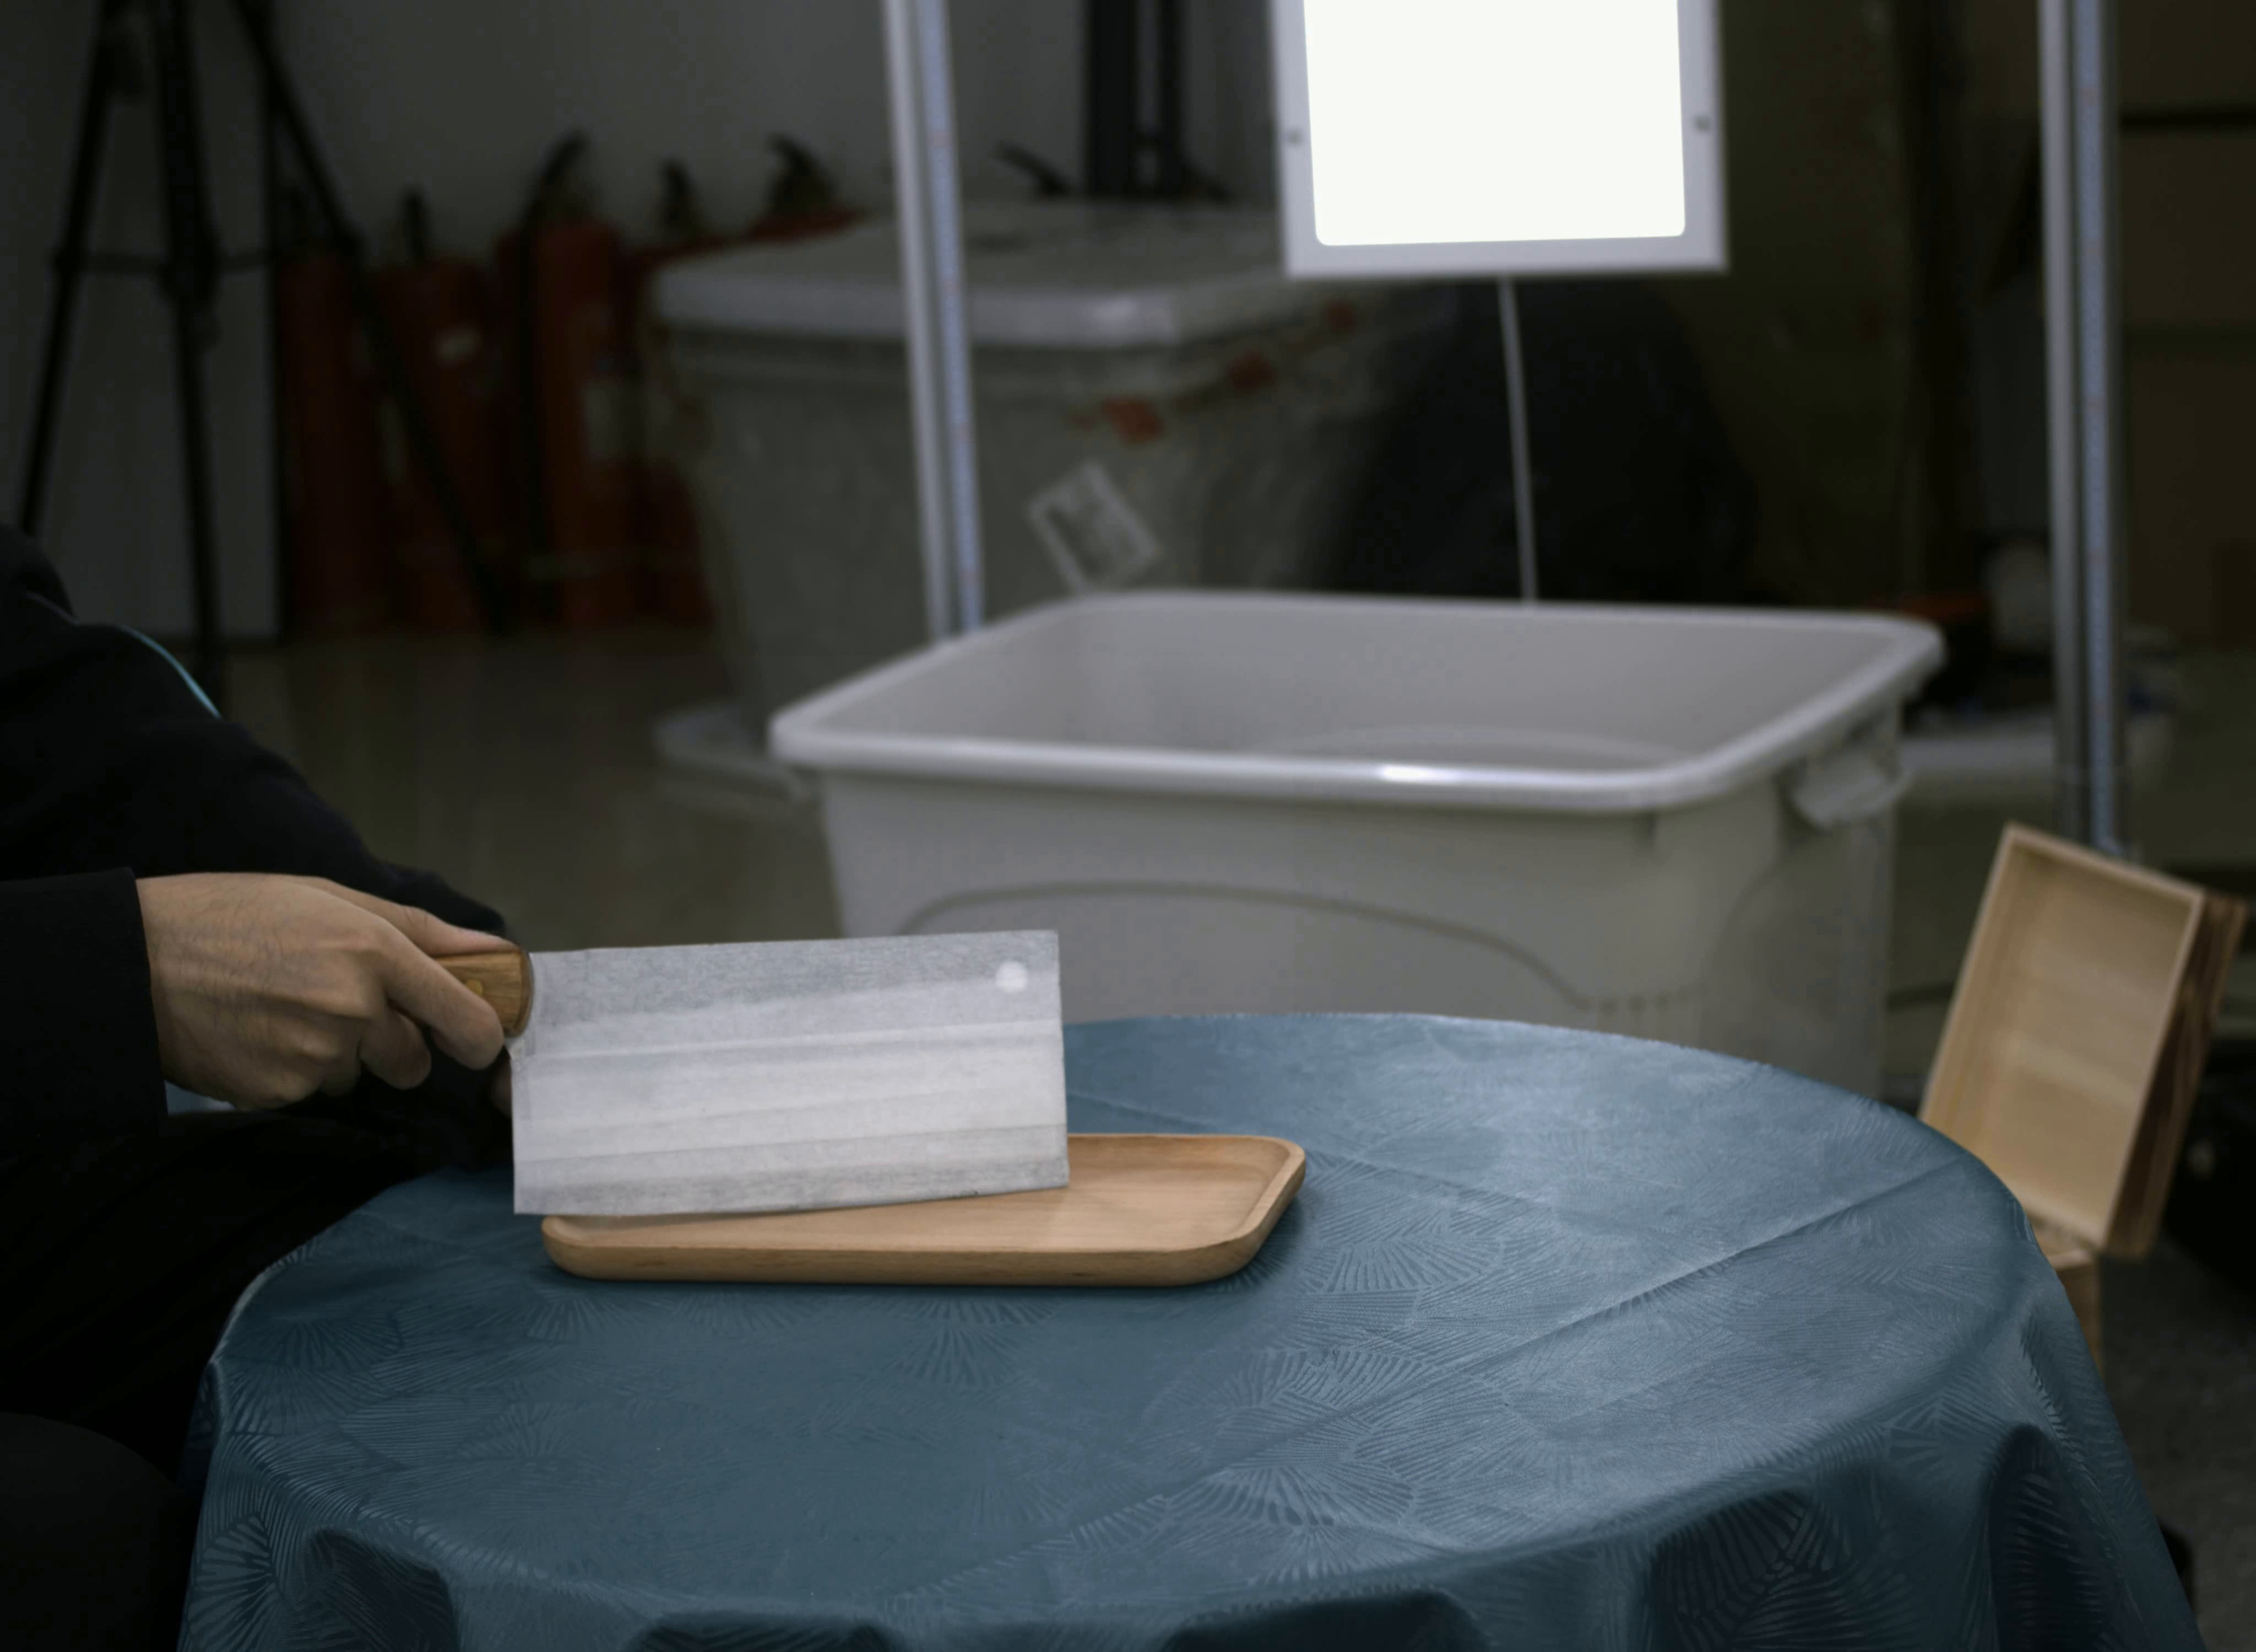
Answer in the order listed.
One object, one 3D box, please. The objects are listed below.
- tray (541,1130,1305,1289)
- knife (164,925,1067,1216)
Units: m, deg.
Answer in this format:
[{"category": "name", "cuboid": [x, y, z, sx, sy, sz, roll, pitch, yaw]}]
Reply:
[{"category": "tray", "cuboid": [-0.069, 0.130, 1.876, 0.254, 0.023, 0.128, -1, 12, 19]}, {"category": "knife", "cuboid": [-0.173, 0.085, 1.879, 0.304, 0.093, 0.021, -3, -2, -1]}]
